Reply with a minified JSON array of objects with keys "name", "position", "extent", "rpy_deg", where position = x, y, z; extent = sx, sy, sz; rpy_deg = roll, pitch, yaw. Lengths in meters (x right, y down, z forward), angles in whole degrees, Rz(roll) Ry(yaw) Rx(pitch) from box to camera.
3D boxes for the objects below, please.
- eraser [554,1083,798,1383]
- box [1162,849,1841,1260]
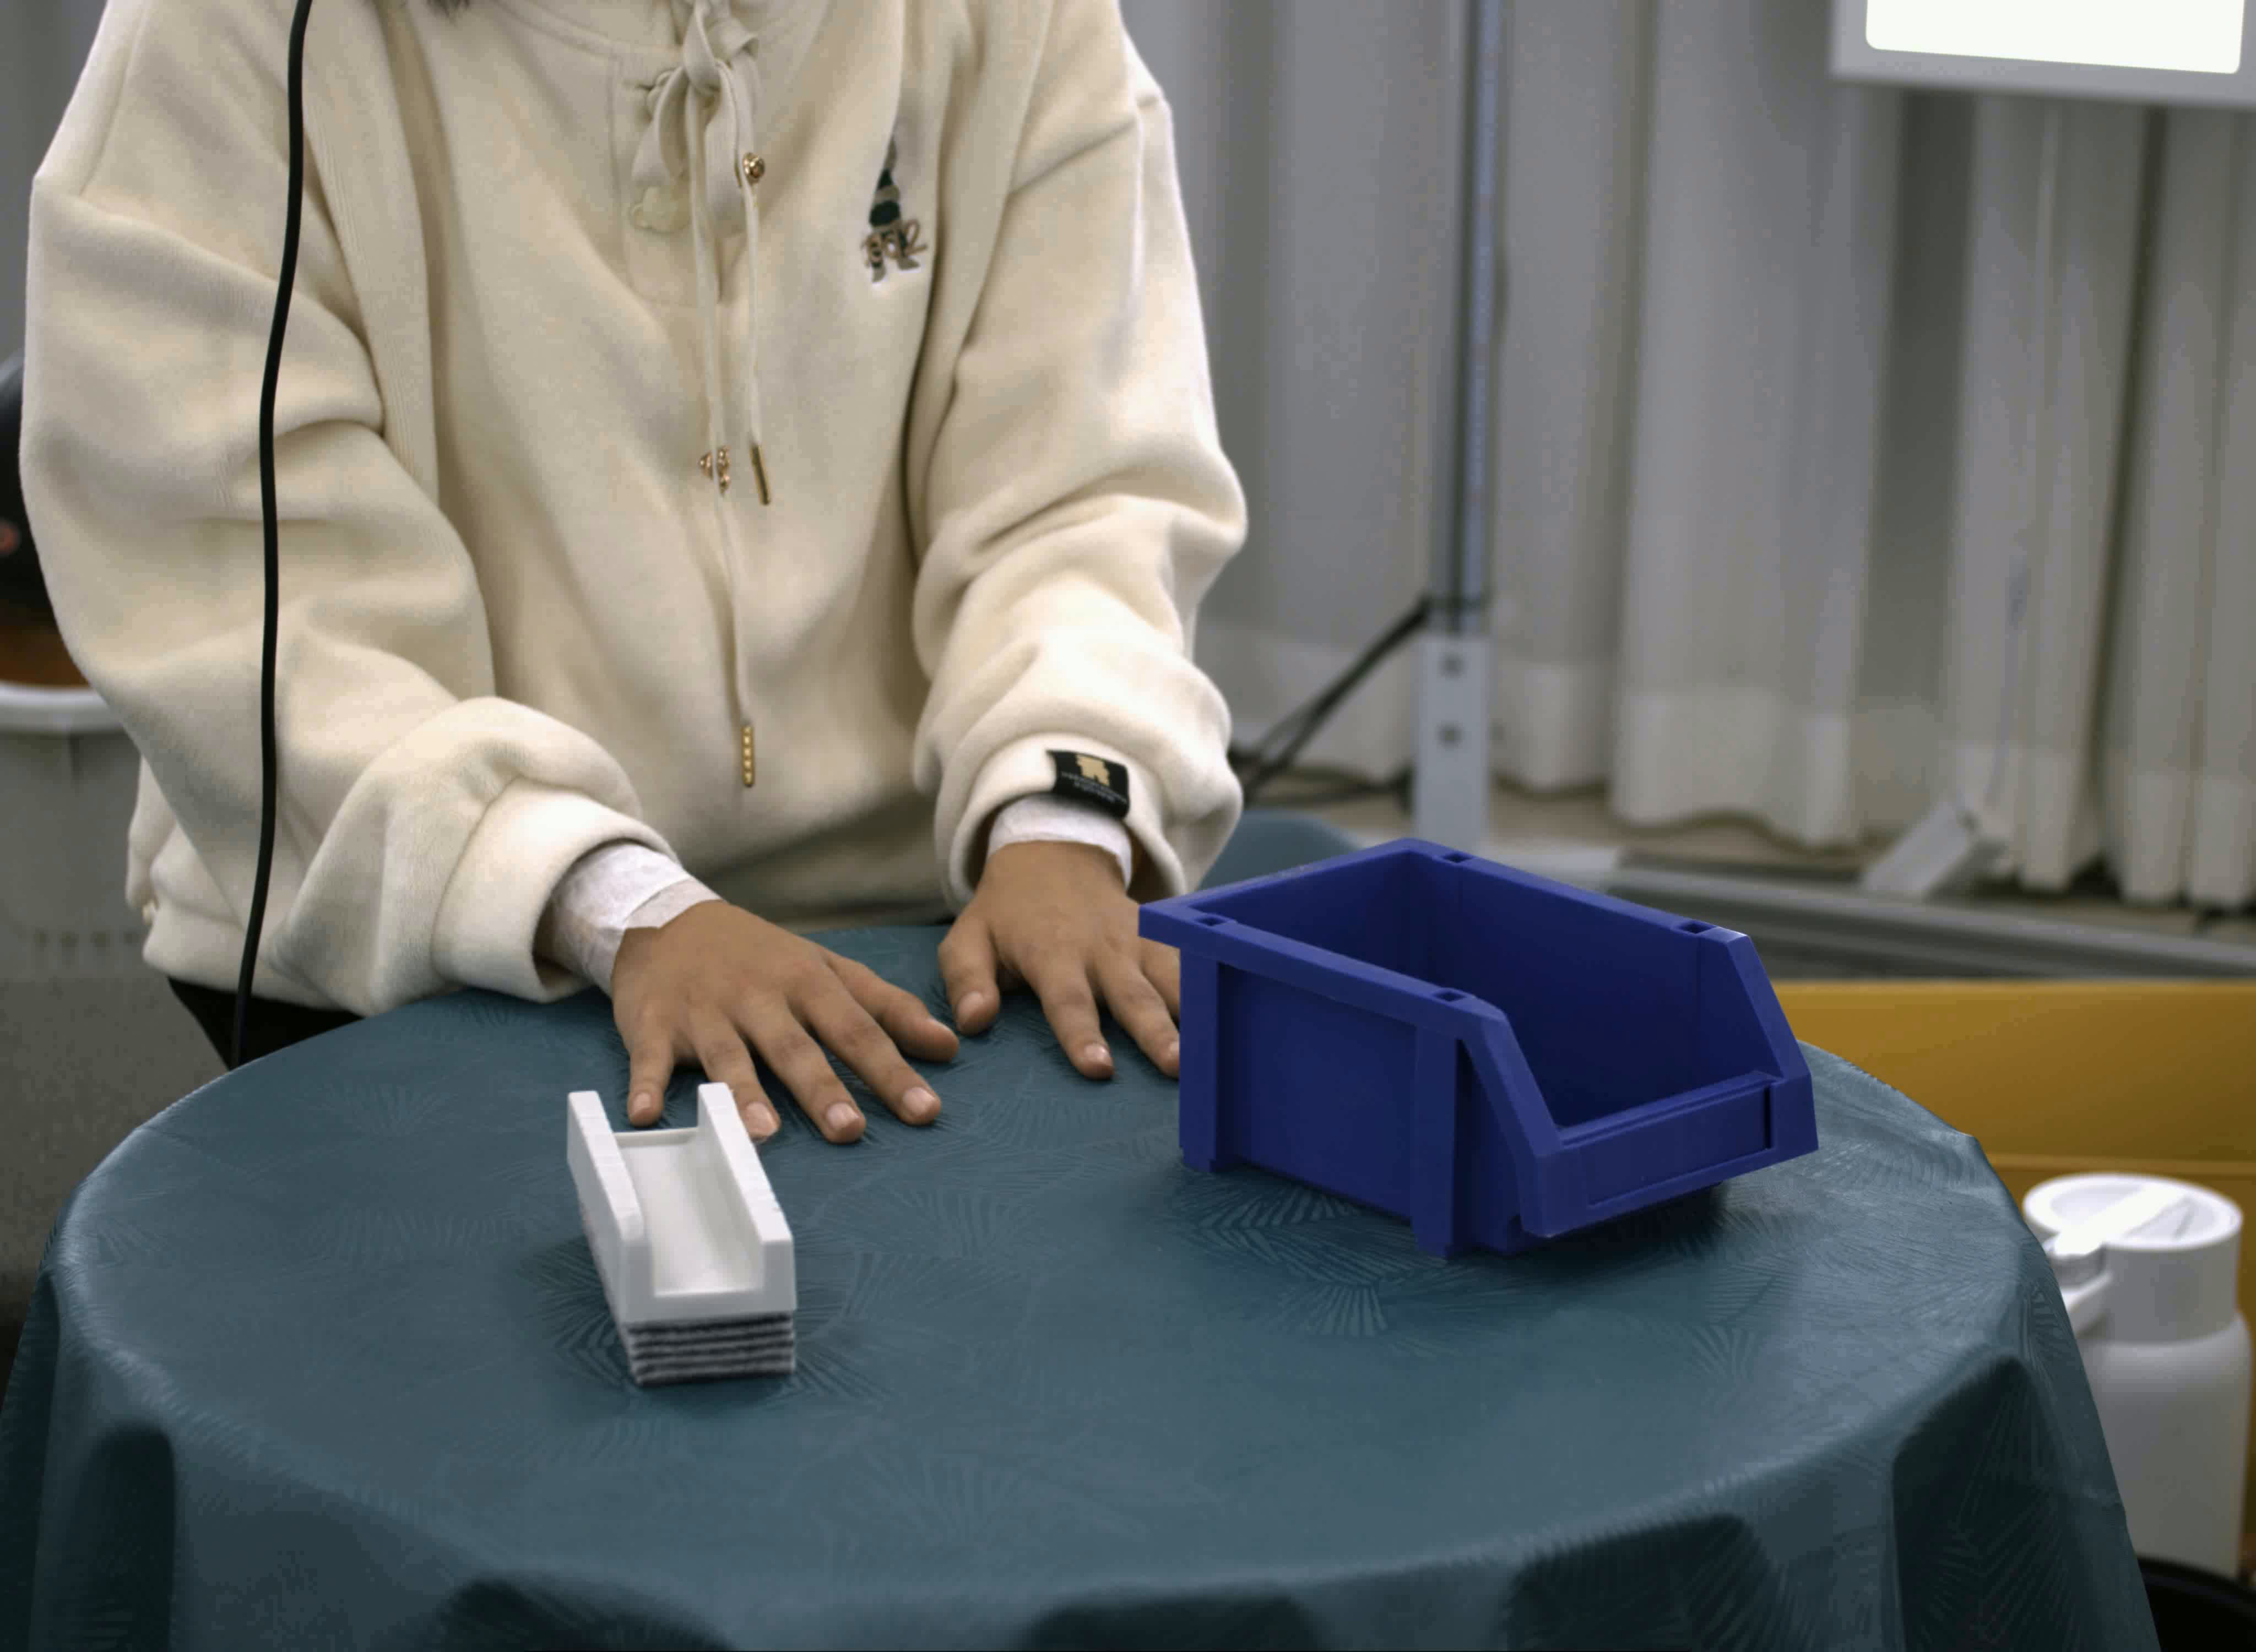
[{"name":"eraser","position":[-0.131,0.116,1.516],"extent":[0.050,0.047,0.133],"rpy_deg":[-6,18,-13]},{"name":"box","position":[0.115,0.071,1.619],"extent":[0.125,0.082,0.177],"rpy_deg":[-13,18,-39]}]
